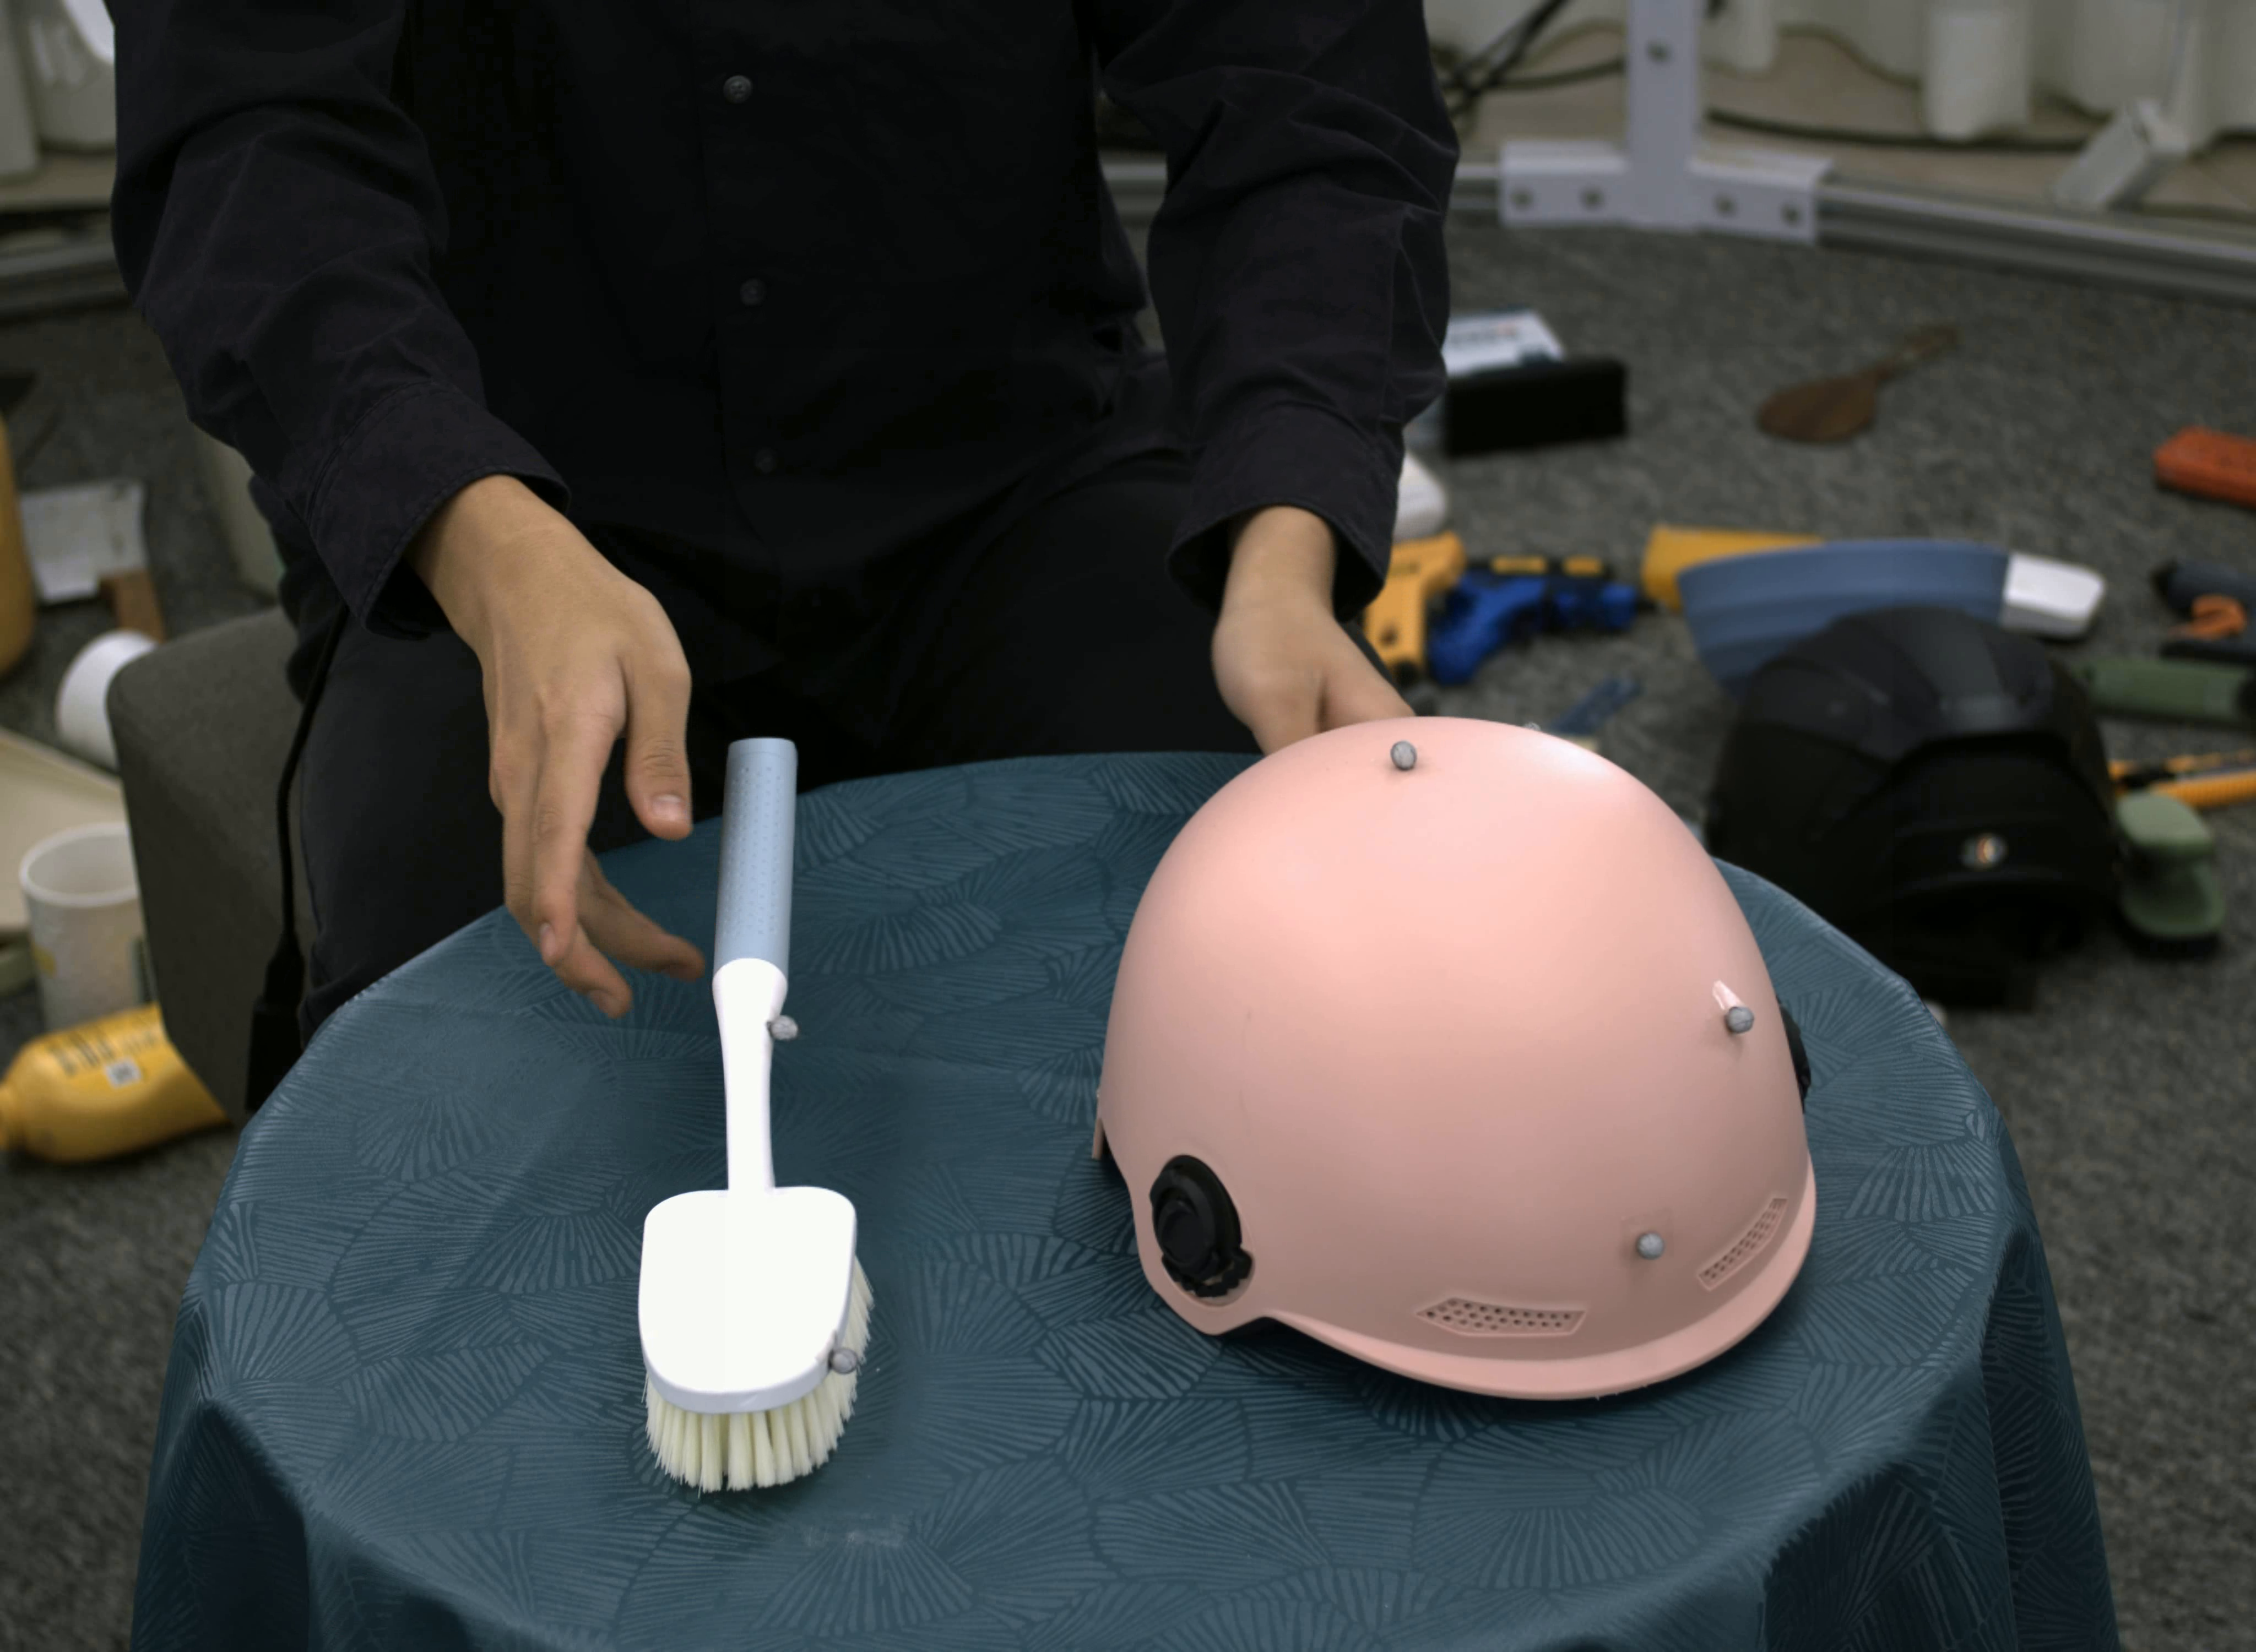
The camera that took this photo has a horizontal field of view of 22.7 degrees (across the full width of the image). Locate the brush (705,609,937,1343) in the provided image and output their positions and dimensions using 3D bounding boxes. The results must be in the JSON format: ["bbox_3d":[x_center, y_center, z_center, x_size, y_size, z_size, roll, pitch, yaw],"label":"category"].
[{"bbox_3d":[-0.096,0.057,1.850,0.083,0.083,0.332,27,34,-21],"label":"brush"}]

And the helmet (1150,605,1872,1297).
[{"bbox_3d":[0.125,0.022,1.826,0.235,0.157,0.268,-14,33,-22],"label":"helmet"}]
